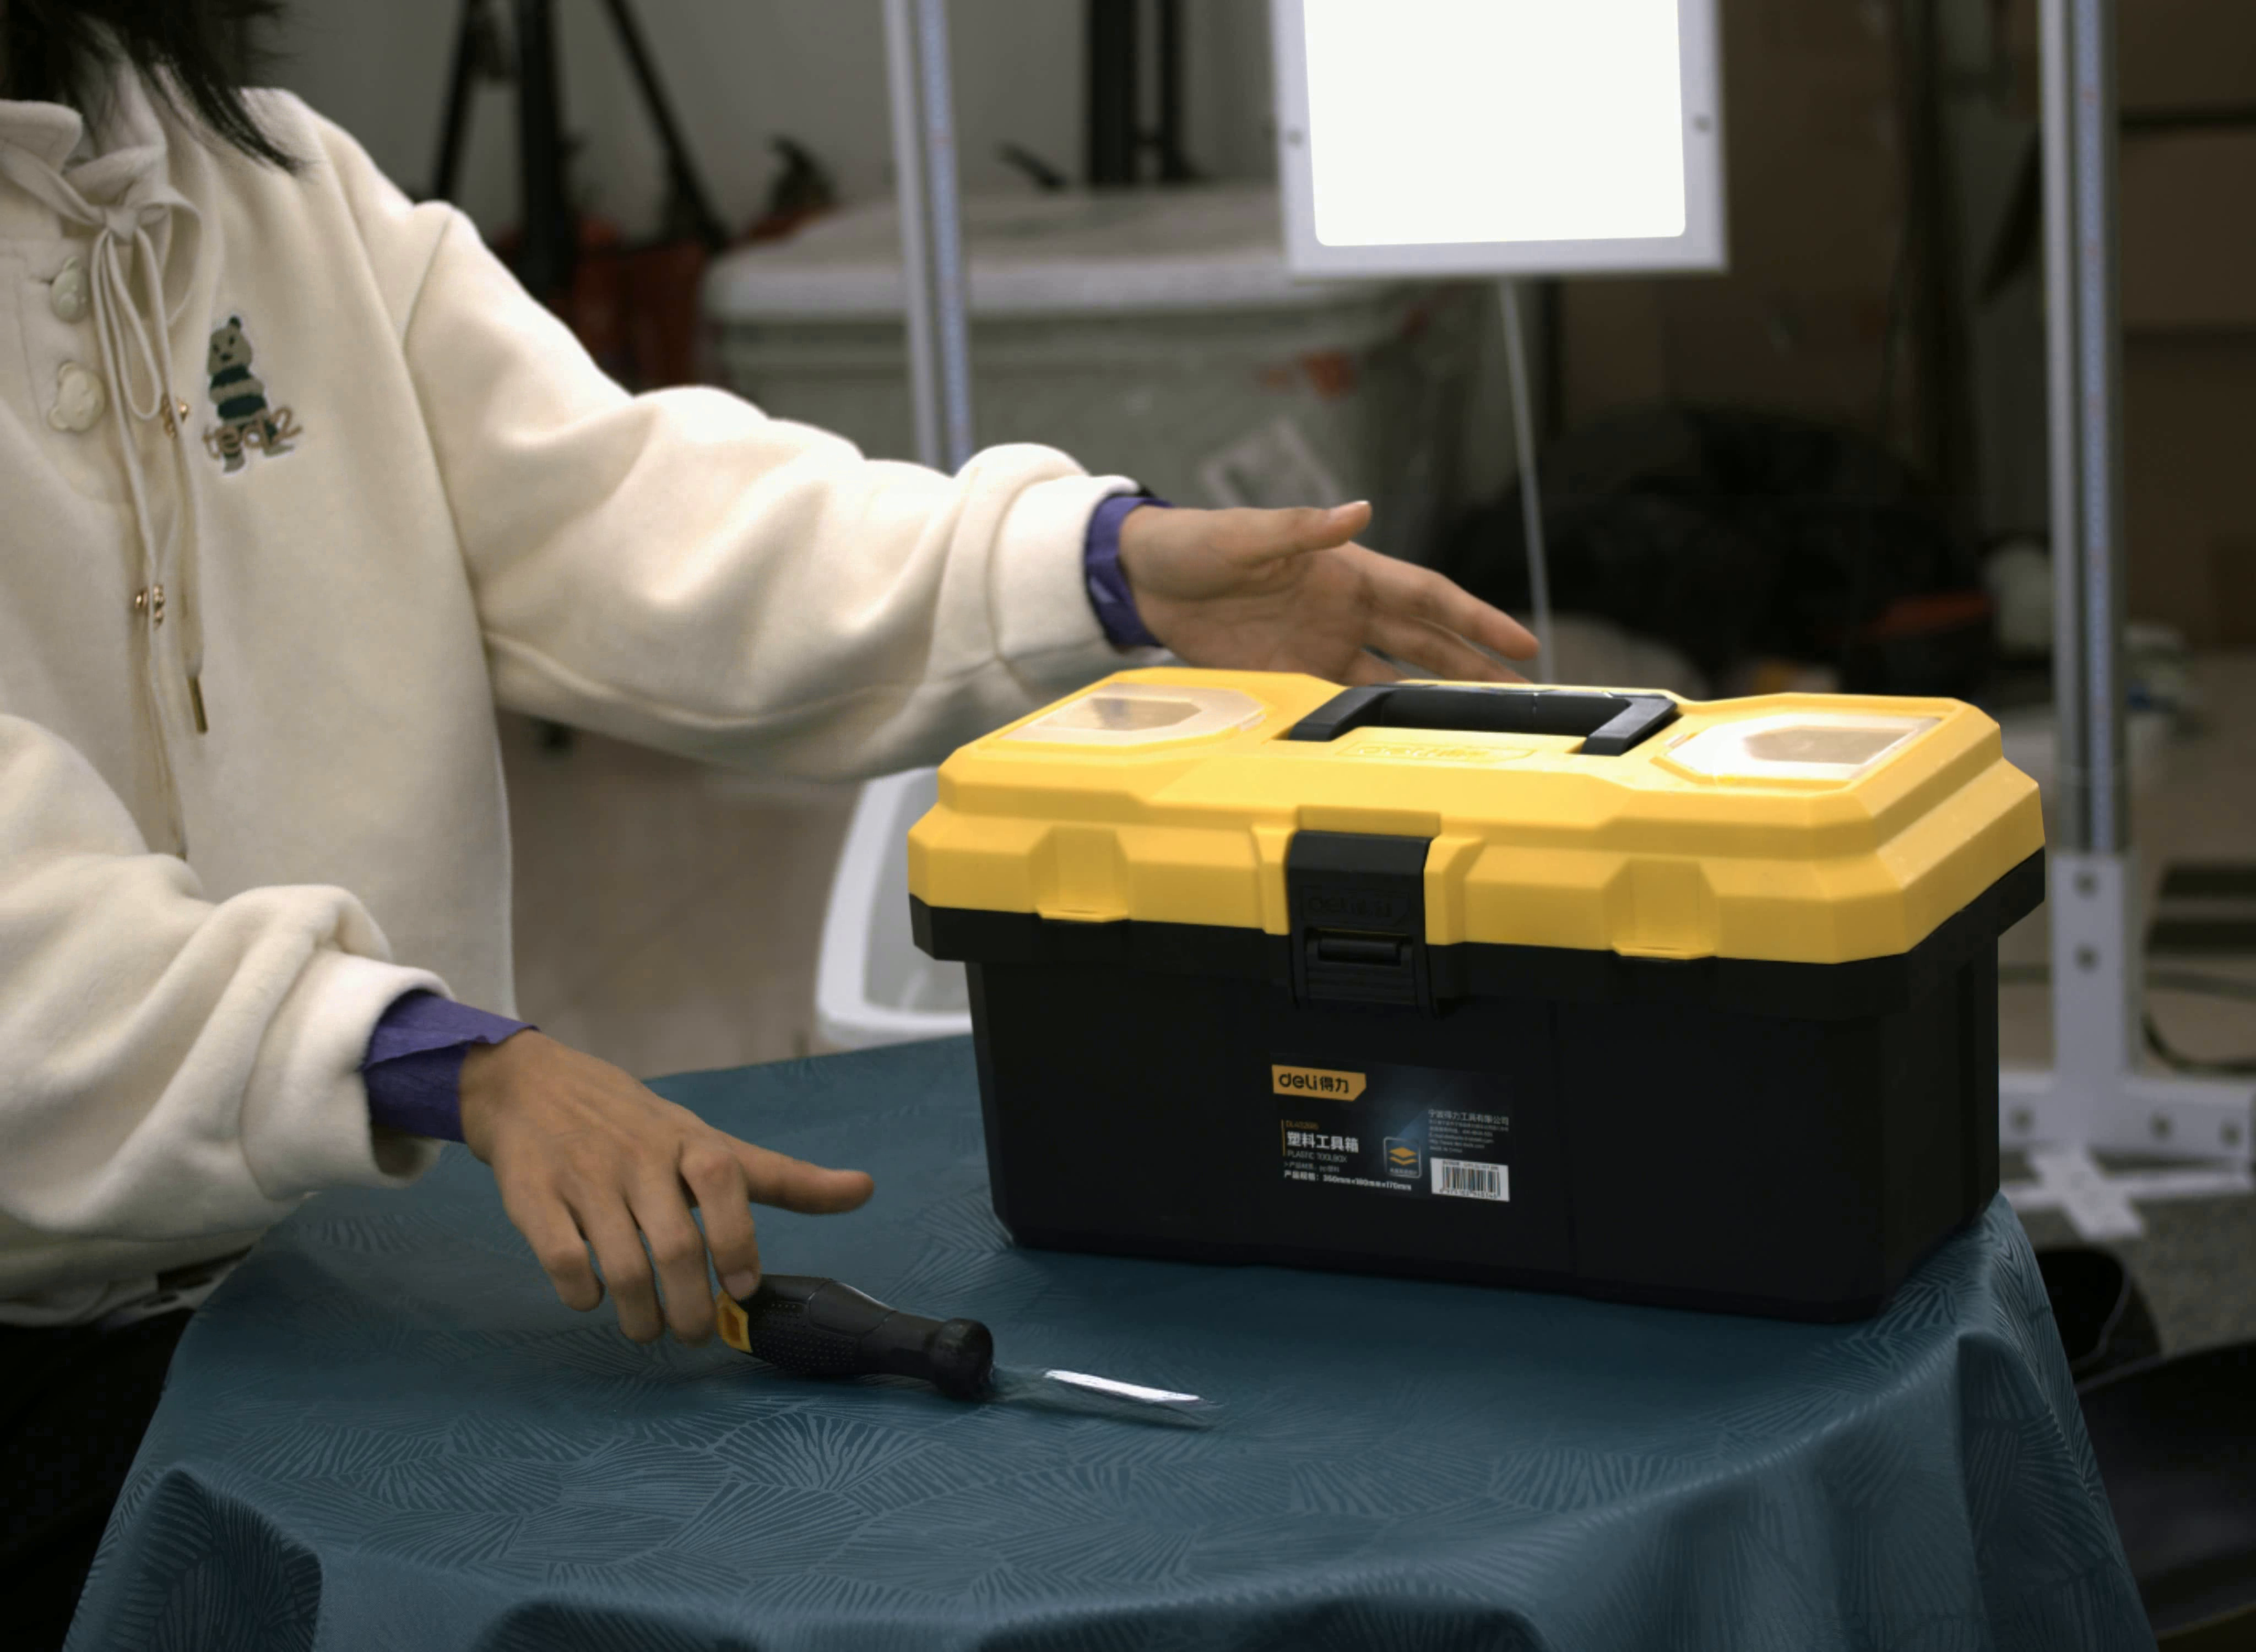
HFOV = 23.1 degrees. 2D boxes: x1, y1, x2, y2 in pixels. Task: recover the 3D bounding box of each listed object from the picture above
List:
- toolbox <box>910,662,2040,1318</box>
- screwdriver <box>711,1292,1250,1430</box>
[{"bbox_3d":[0.114,0.050,1.805,0.358,0.173,0.177,3,16,30],"label":"toolbox"},{"bbox_3d":[-0.047,0.172,1.708,0.201,0.031,0.031,10,19,34],"label":"screwdriver"}]
